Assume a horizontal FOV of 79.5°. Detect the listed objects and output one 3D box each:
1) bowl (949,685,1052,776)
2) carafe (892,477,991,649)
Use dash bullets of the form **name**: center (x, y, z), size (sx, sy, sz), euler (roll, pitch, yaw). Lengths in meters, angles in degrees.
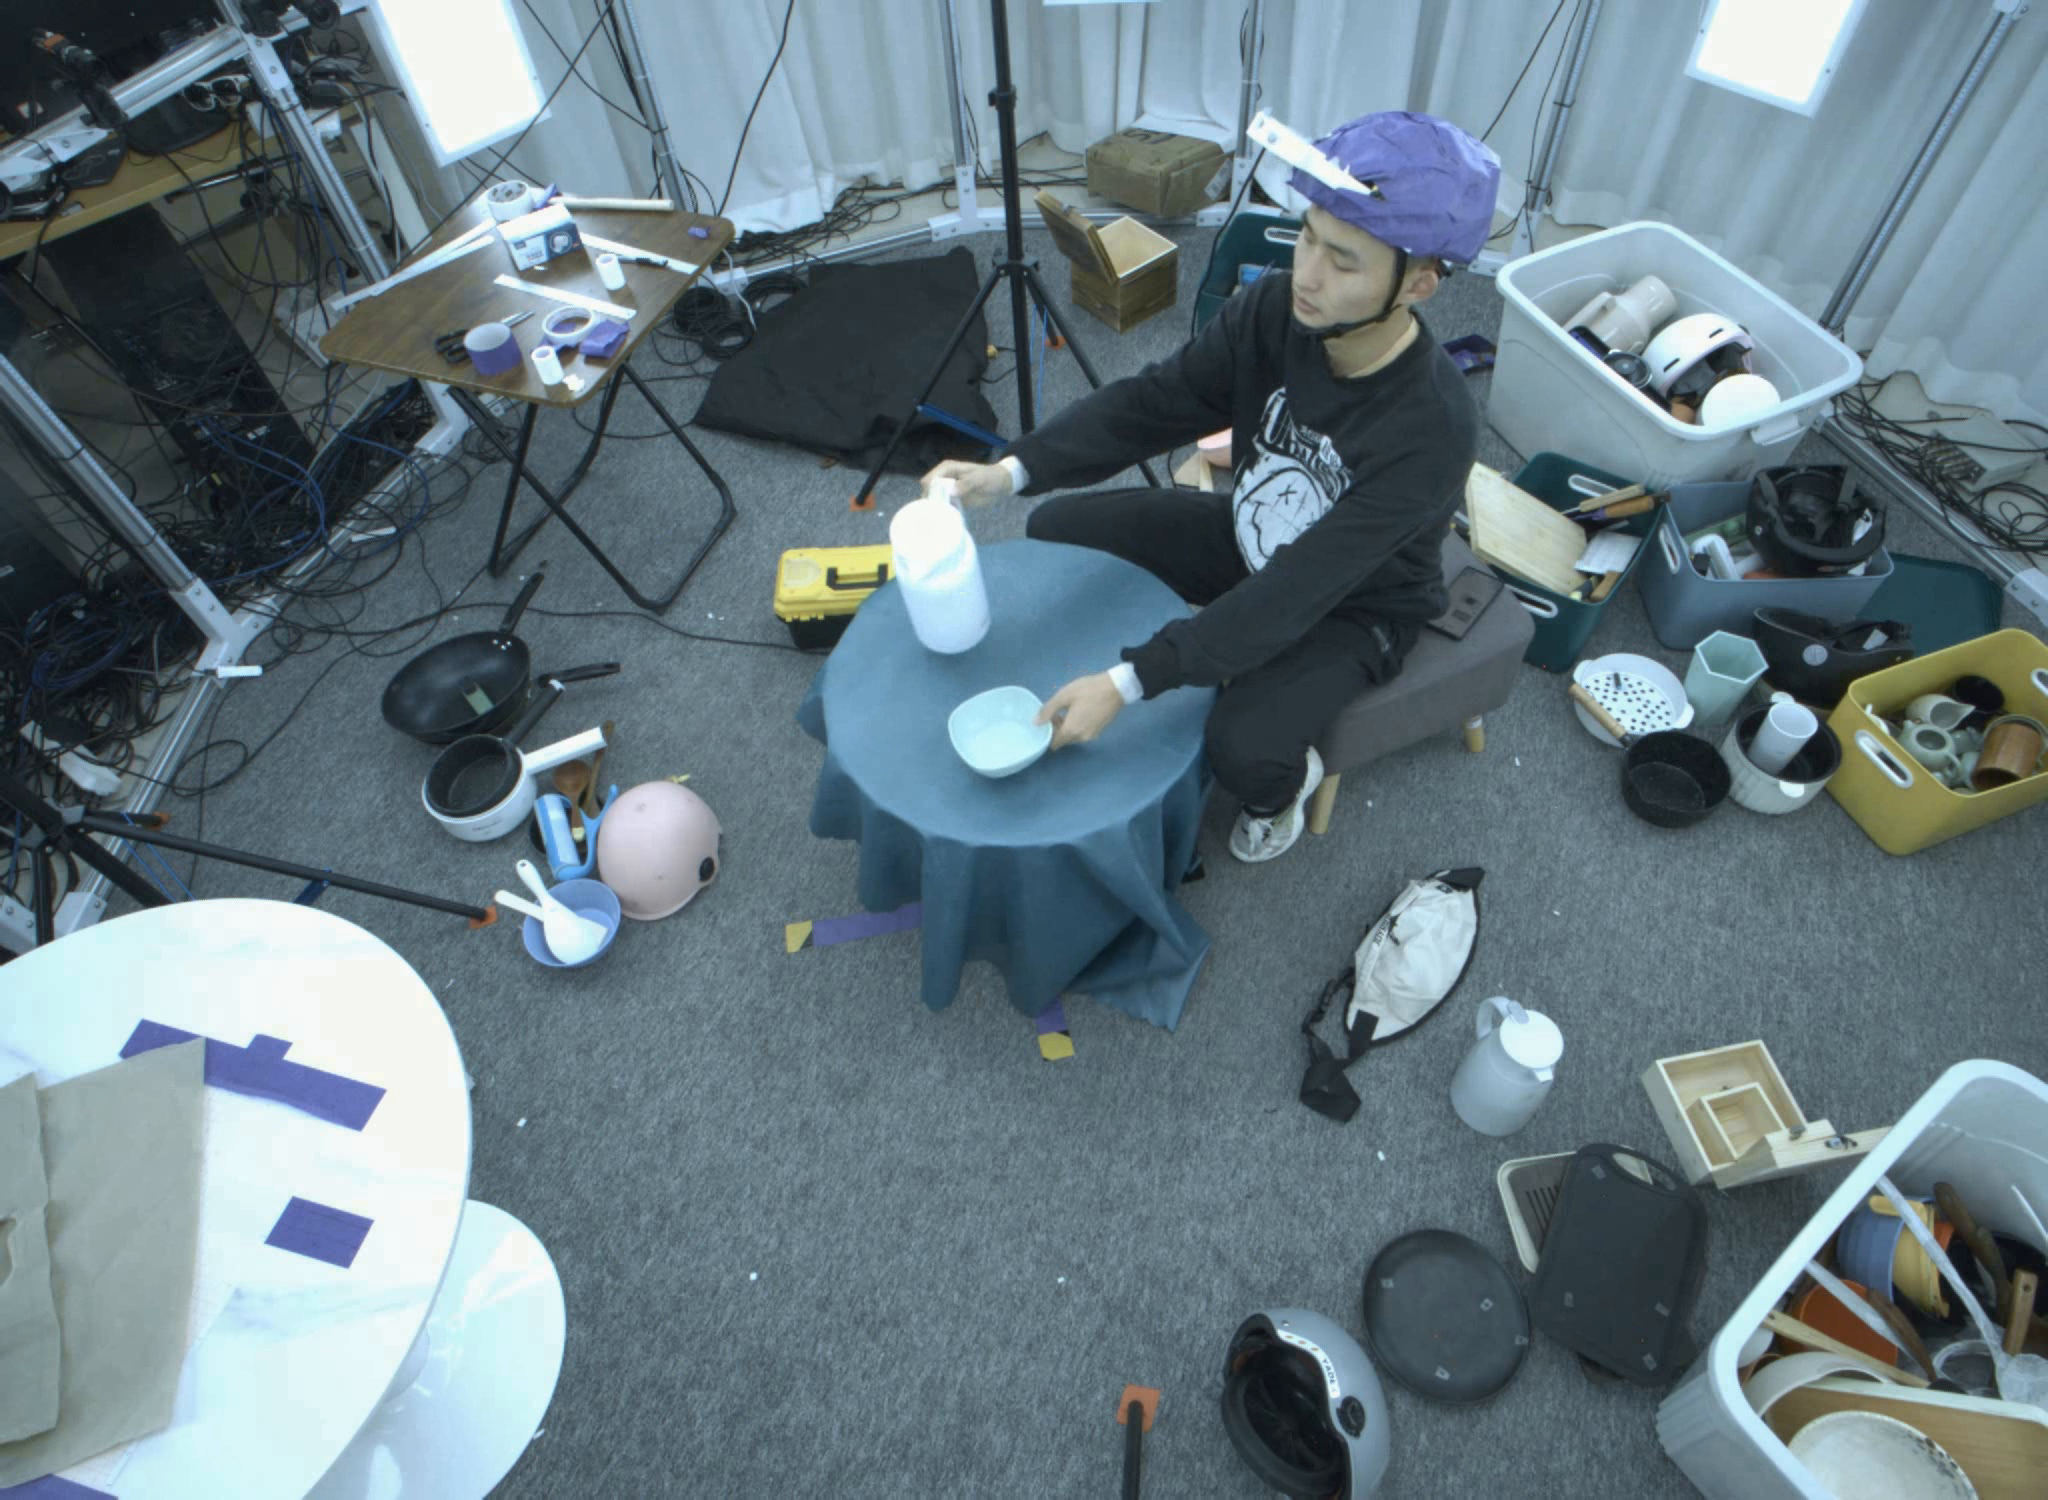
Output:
- **bowl**: center (-0.030, -0.018, 1.739), size (0.151, 0.059, 0.150), euler (-3, 53, 5)
- **carafe**: center (-0.116, -0.263, 1.743), size (0.123, 0.271, 0.172), euler (7, 71, 9)
